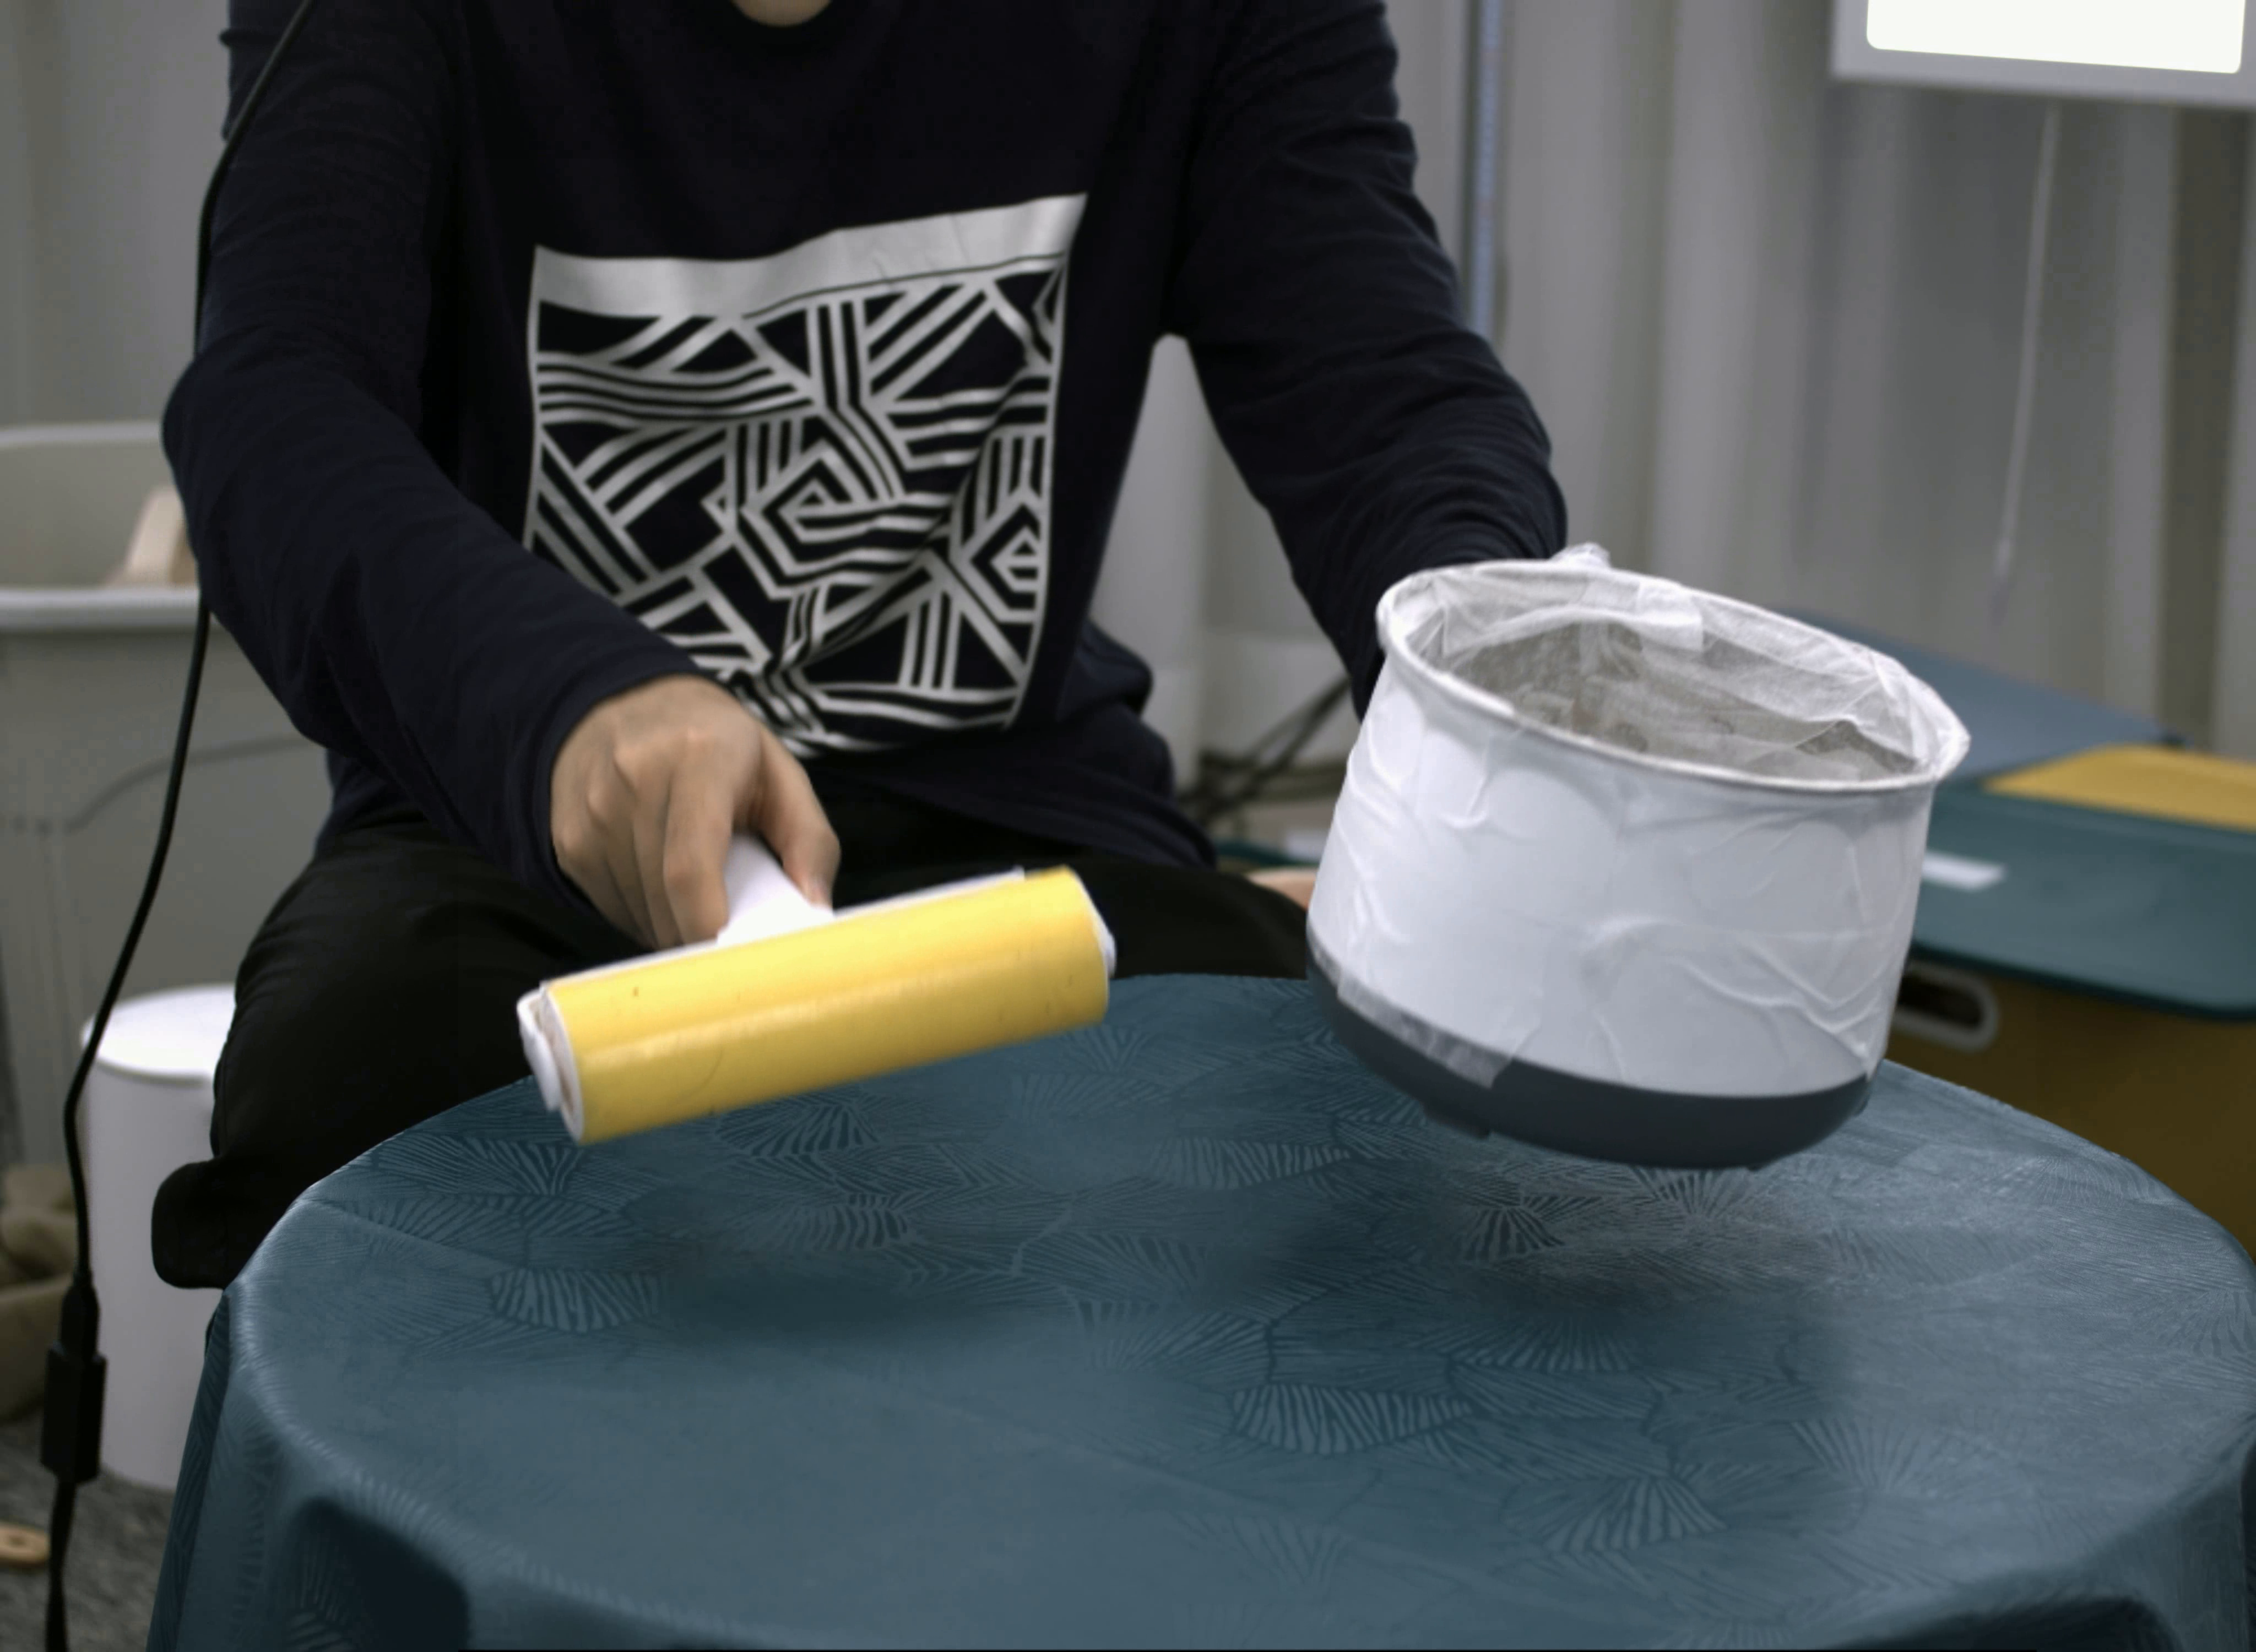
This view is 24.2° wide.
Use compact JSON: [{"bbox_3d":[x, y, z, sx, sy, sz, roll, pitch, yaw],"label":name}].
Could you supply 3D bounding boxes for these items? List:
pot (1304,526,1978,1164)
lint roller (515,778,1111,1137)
[{"bbox_3d":[0.141,-0.002,1.578,0.179,0.137,0.231,9,22,-16],"label":"pot"},{"bbox_3d":[-0.115,0.017,1.597,0.174,0.052,0.189,-14,34,-17],"label":"lint roller"}]
